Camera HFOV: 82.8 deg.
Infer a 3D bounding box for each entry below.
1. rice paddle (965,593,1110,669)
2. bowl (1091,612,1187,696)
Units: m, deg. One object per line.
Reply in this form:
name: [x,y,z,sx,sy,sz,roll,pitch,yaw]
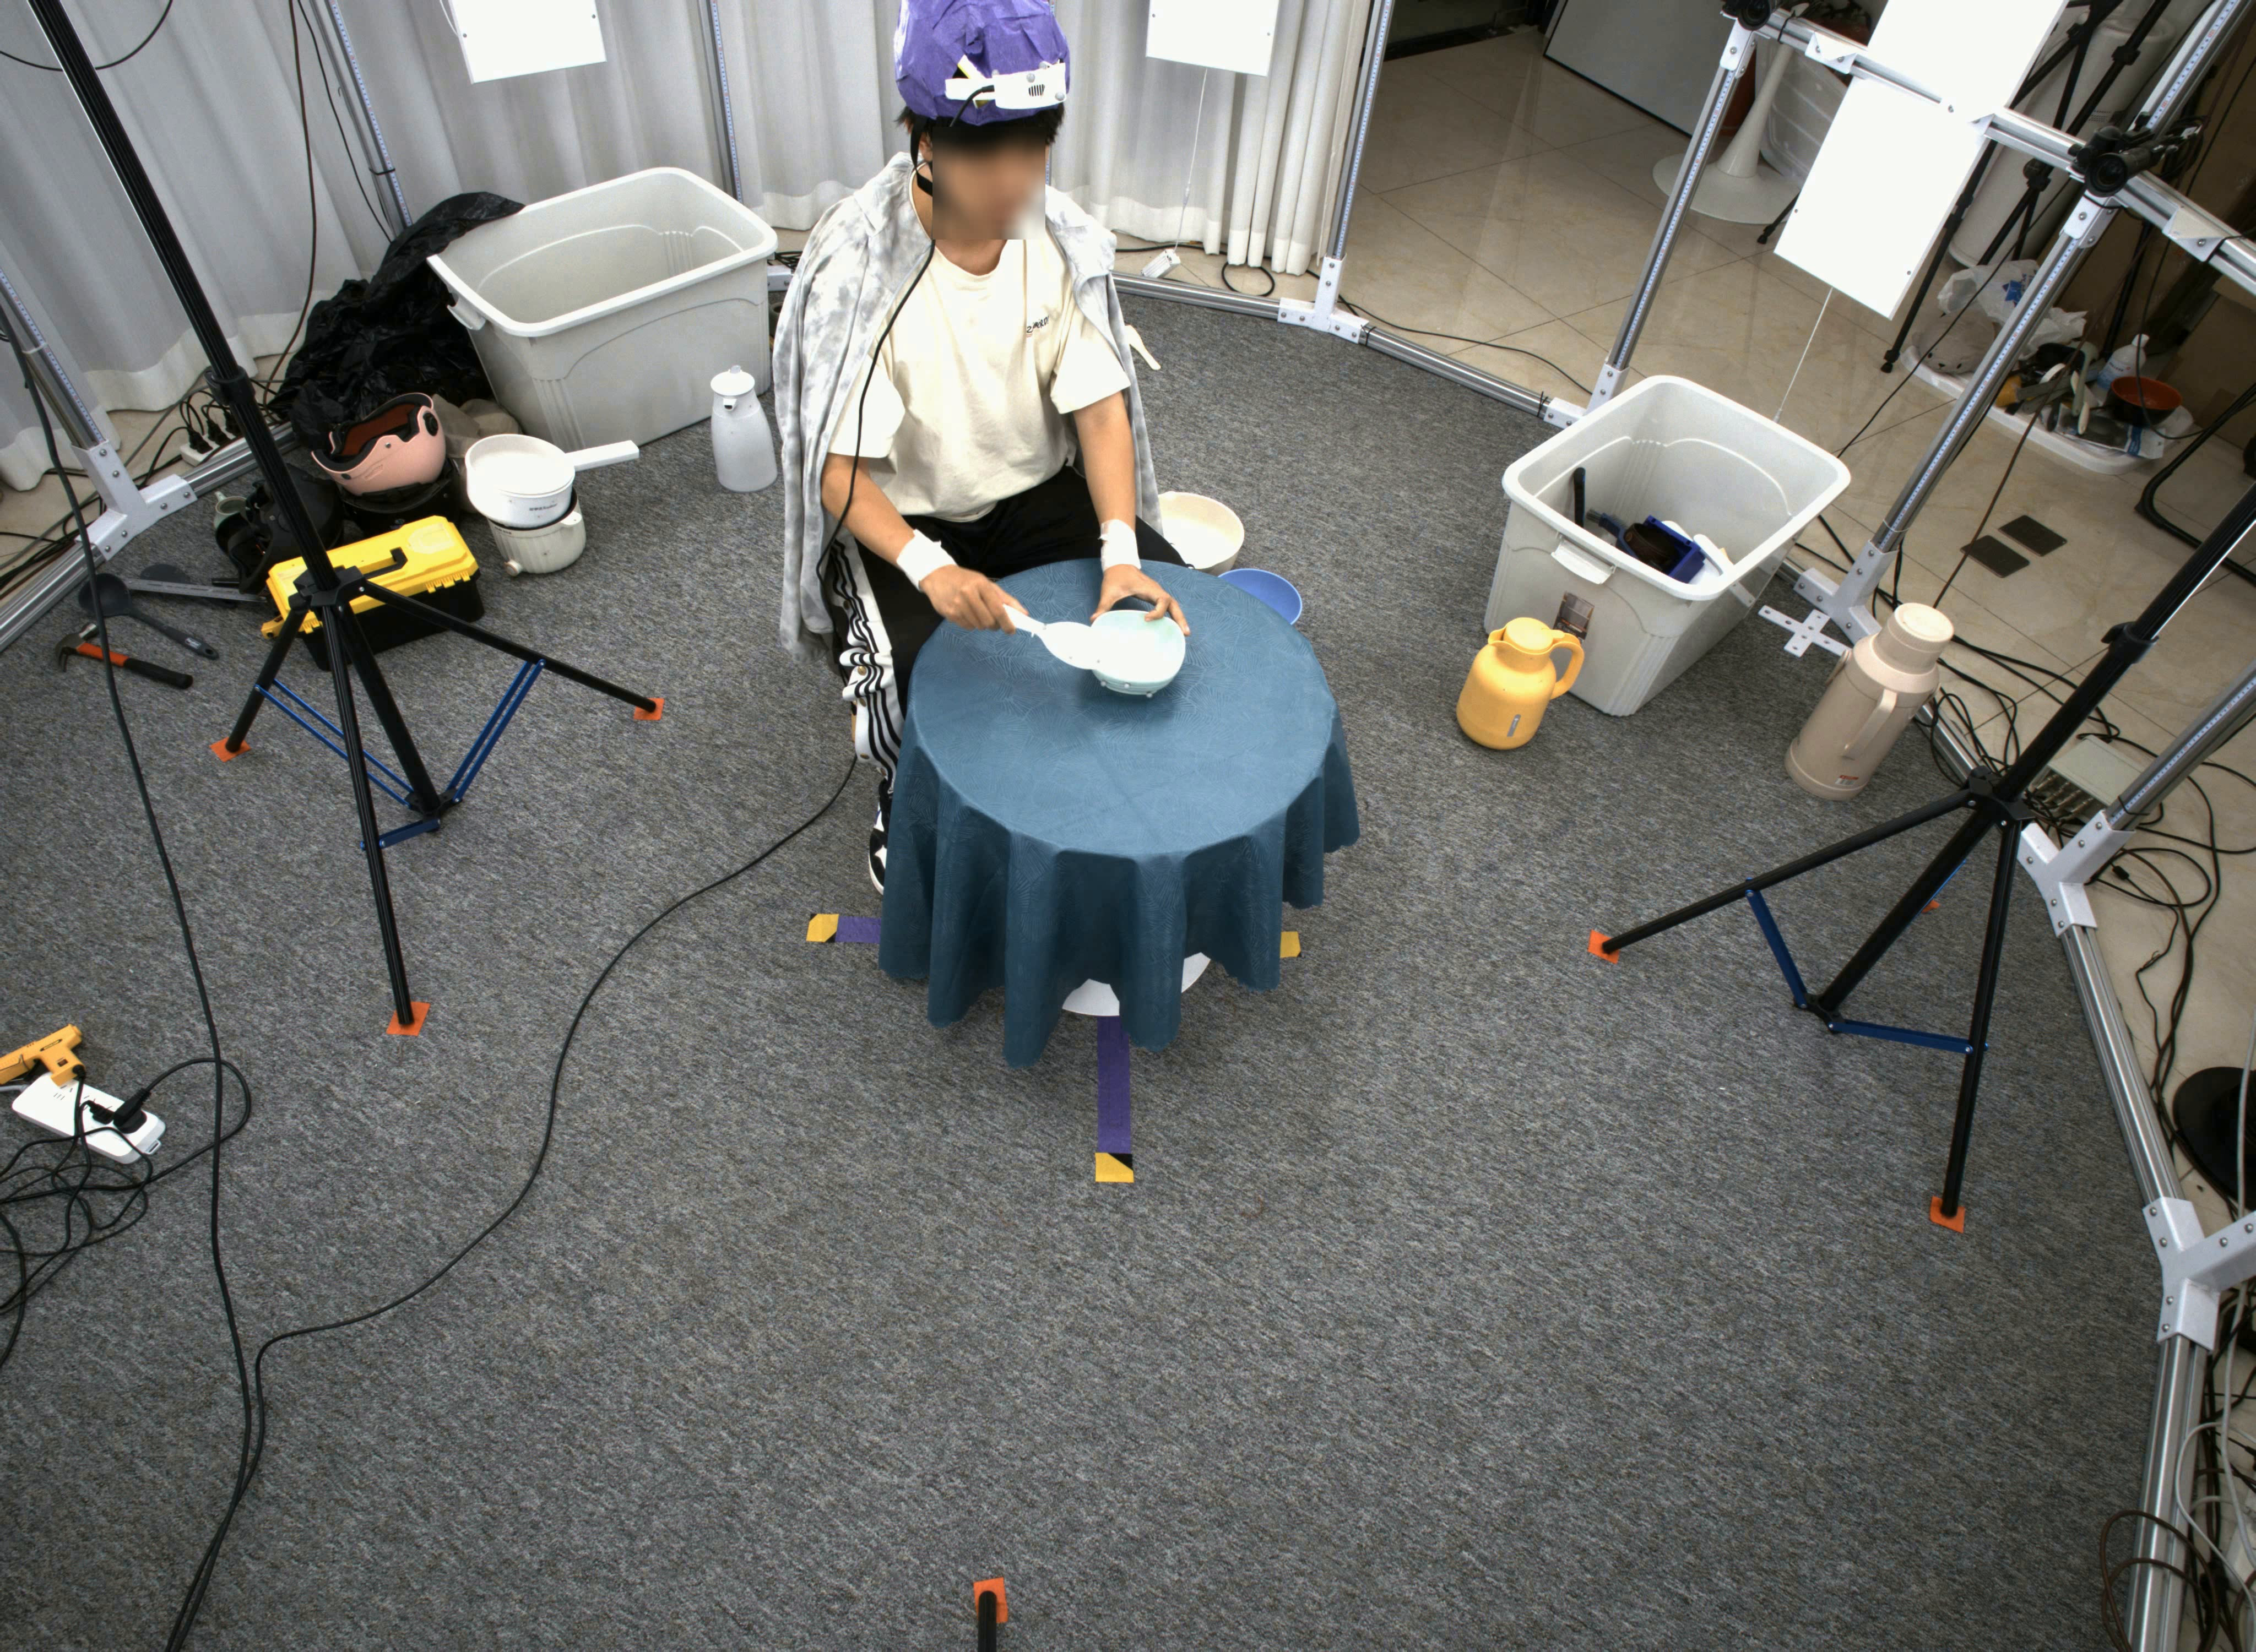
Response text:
rice paddle: [-0.121,-0.267,1.747,0.205,0.029,0.070,21,59,1]
bowl: [0.013,-0.237,1.832,0.151,0.057,0.155,1,51,-1]
